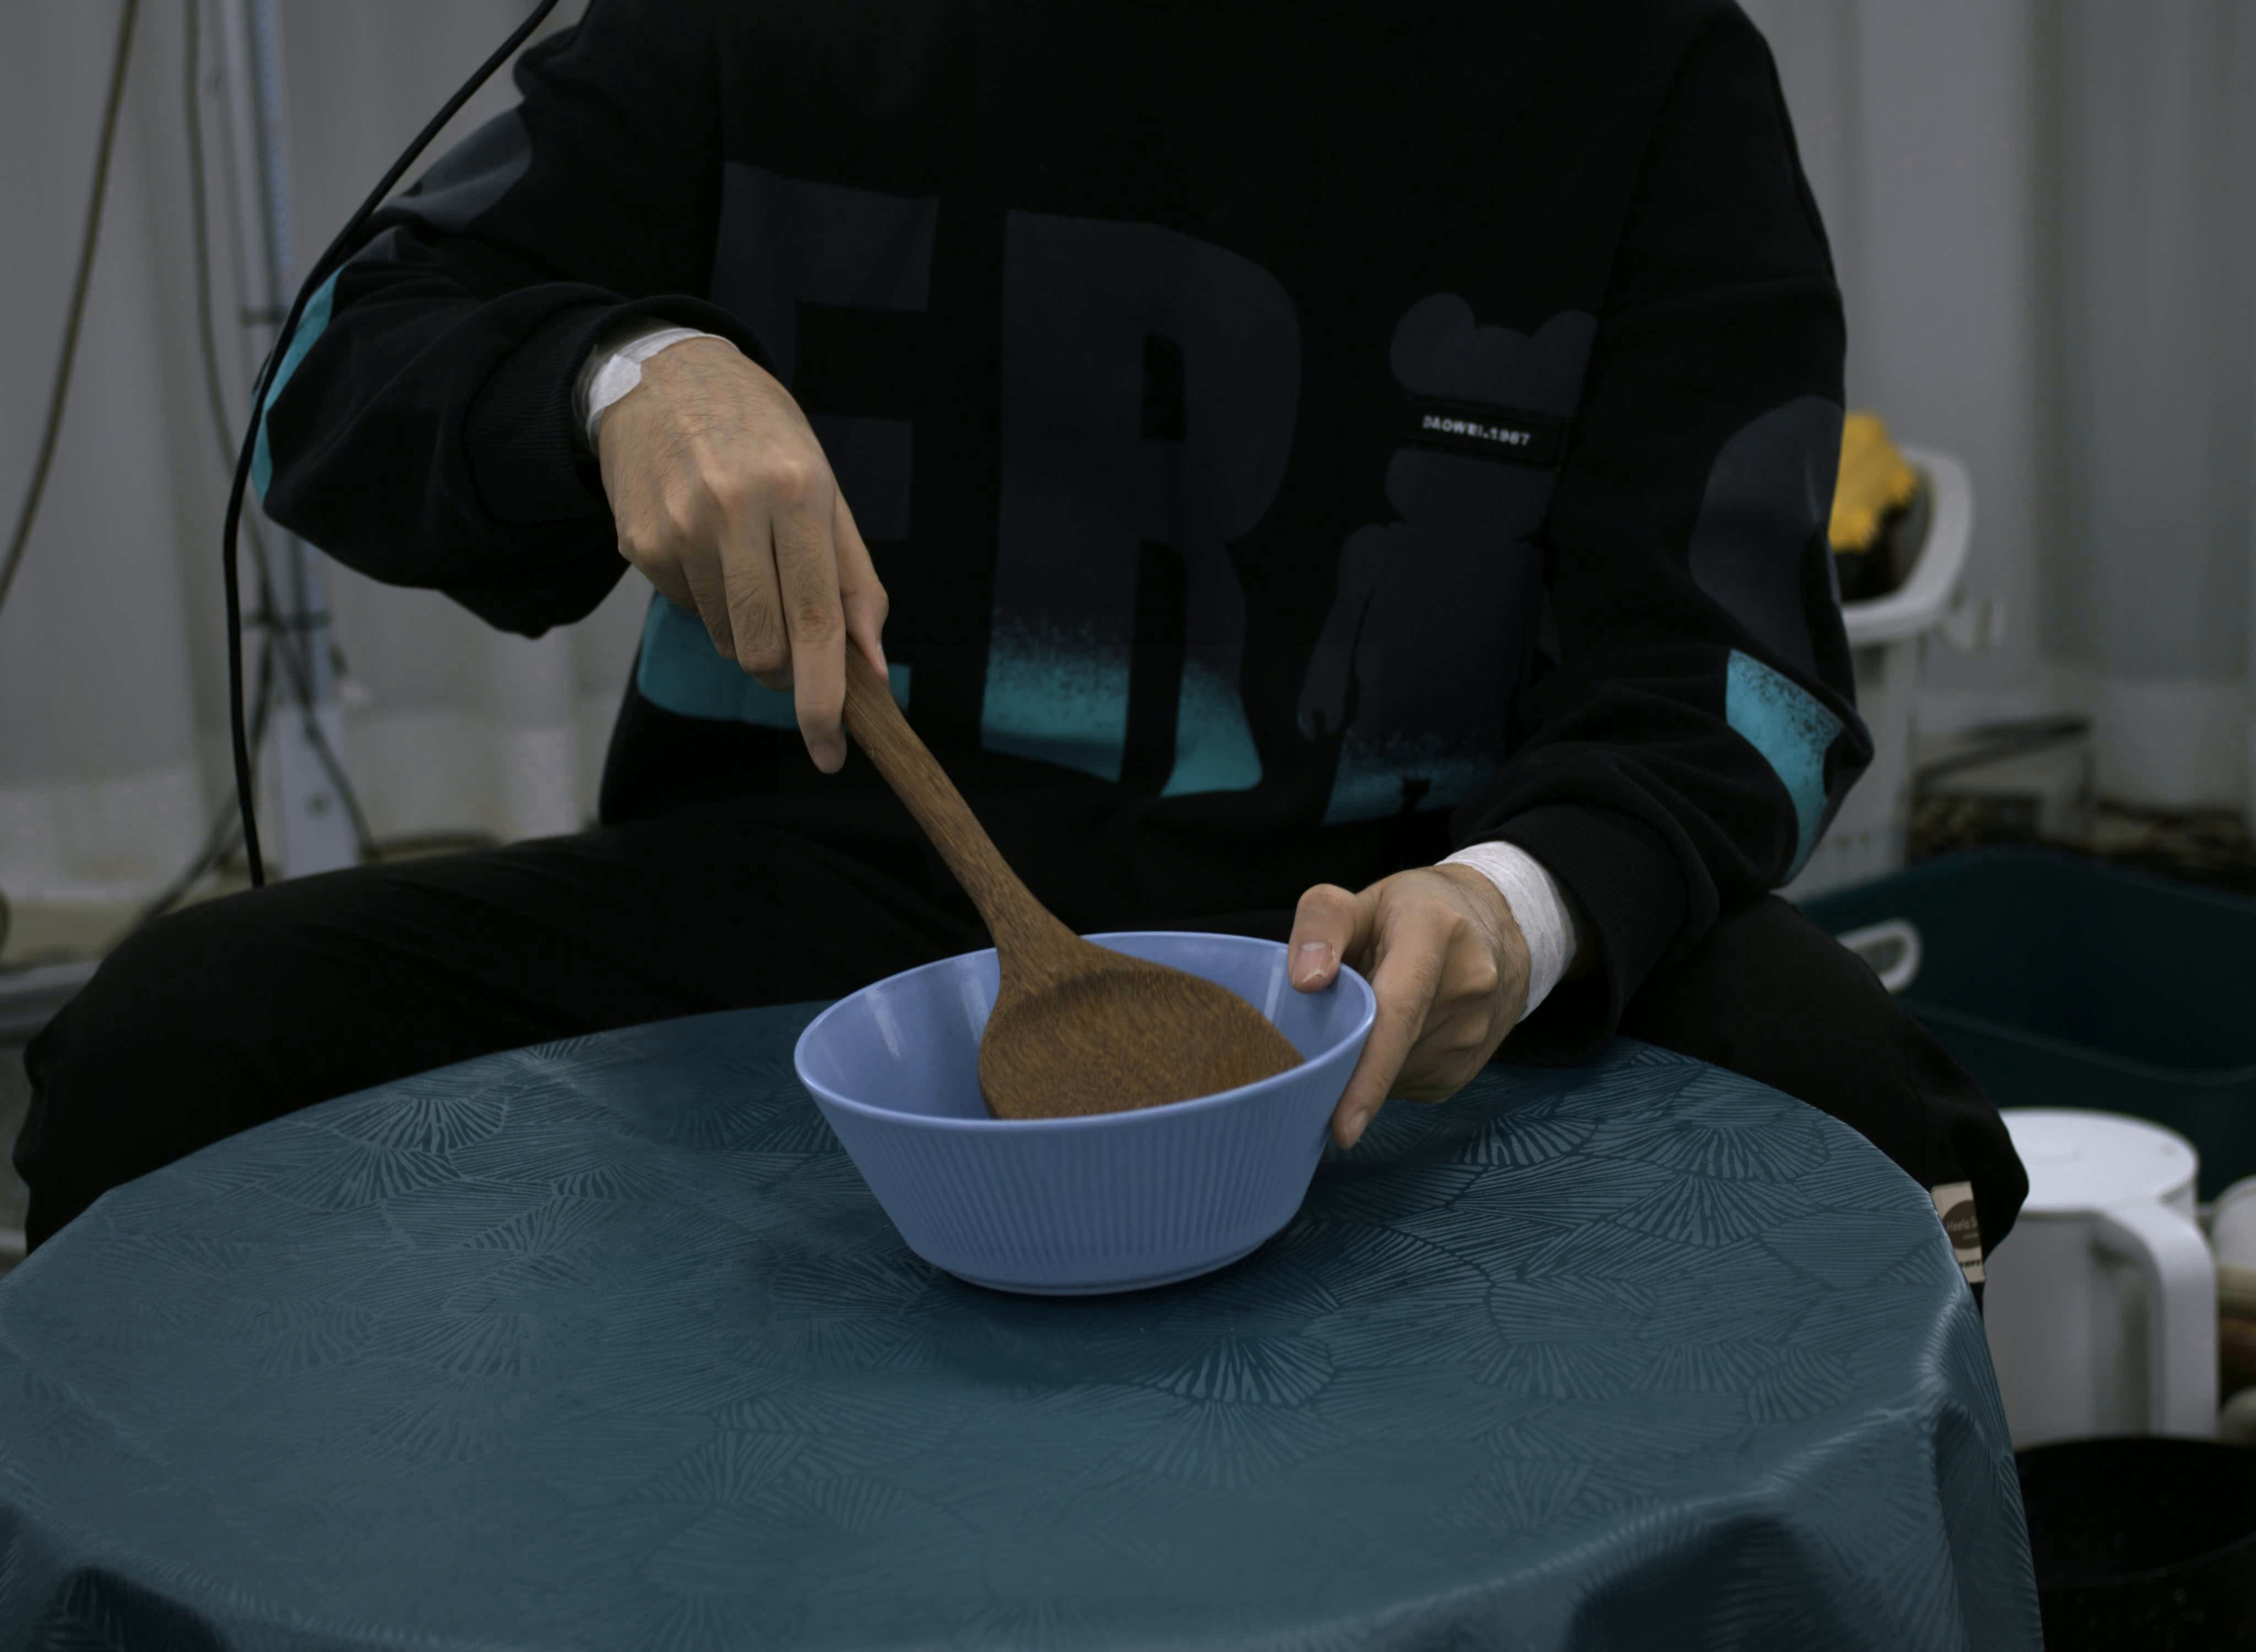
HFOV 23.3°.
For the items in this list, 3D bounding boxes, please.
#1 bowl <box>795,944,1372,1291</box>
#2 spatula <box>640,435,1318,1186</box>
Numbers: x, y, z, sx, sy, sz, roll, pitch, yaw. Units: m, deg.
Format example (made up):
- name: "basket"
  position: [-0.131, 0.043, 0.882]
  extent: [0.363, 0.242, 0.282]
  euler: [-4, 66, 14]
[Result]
- name: "bowl"
  position: [-0.011, 0.091, 1.654]
  extent: [0.175, 0.070, 0.177]
  euler: [-5, 14, 1]
- name: "spatula"
  position: [-0.067, -0.016, 1.721]
  extent: [0.096, 0.015, 0.391]
  euler: [-18, 46, -22]
